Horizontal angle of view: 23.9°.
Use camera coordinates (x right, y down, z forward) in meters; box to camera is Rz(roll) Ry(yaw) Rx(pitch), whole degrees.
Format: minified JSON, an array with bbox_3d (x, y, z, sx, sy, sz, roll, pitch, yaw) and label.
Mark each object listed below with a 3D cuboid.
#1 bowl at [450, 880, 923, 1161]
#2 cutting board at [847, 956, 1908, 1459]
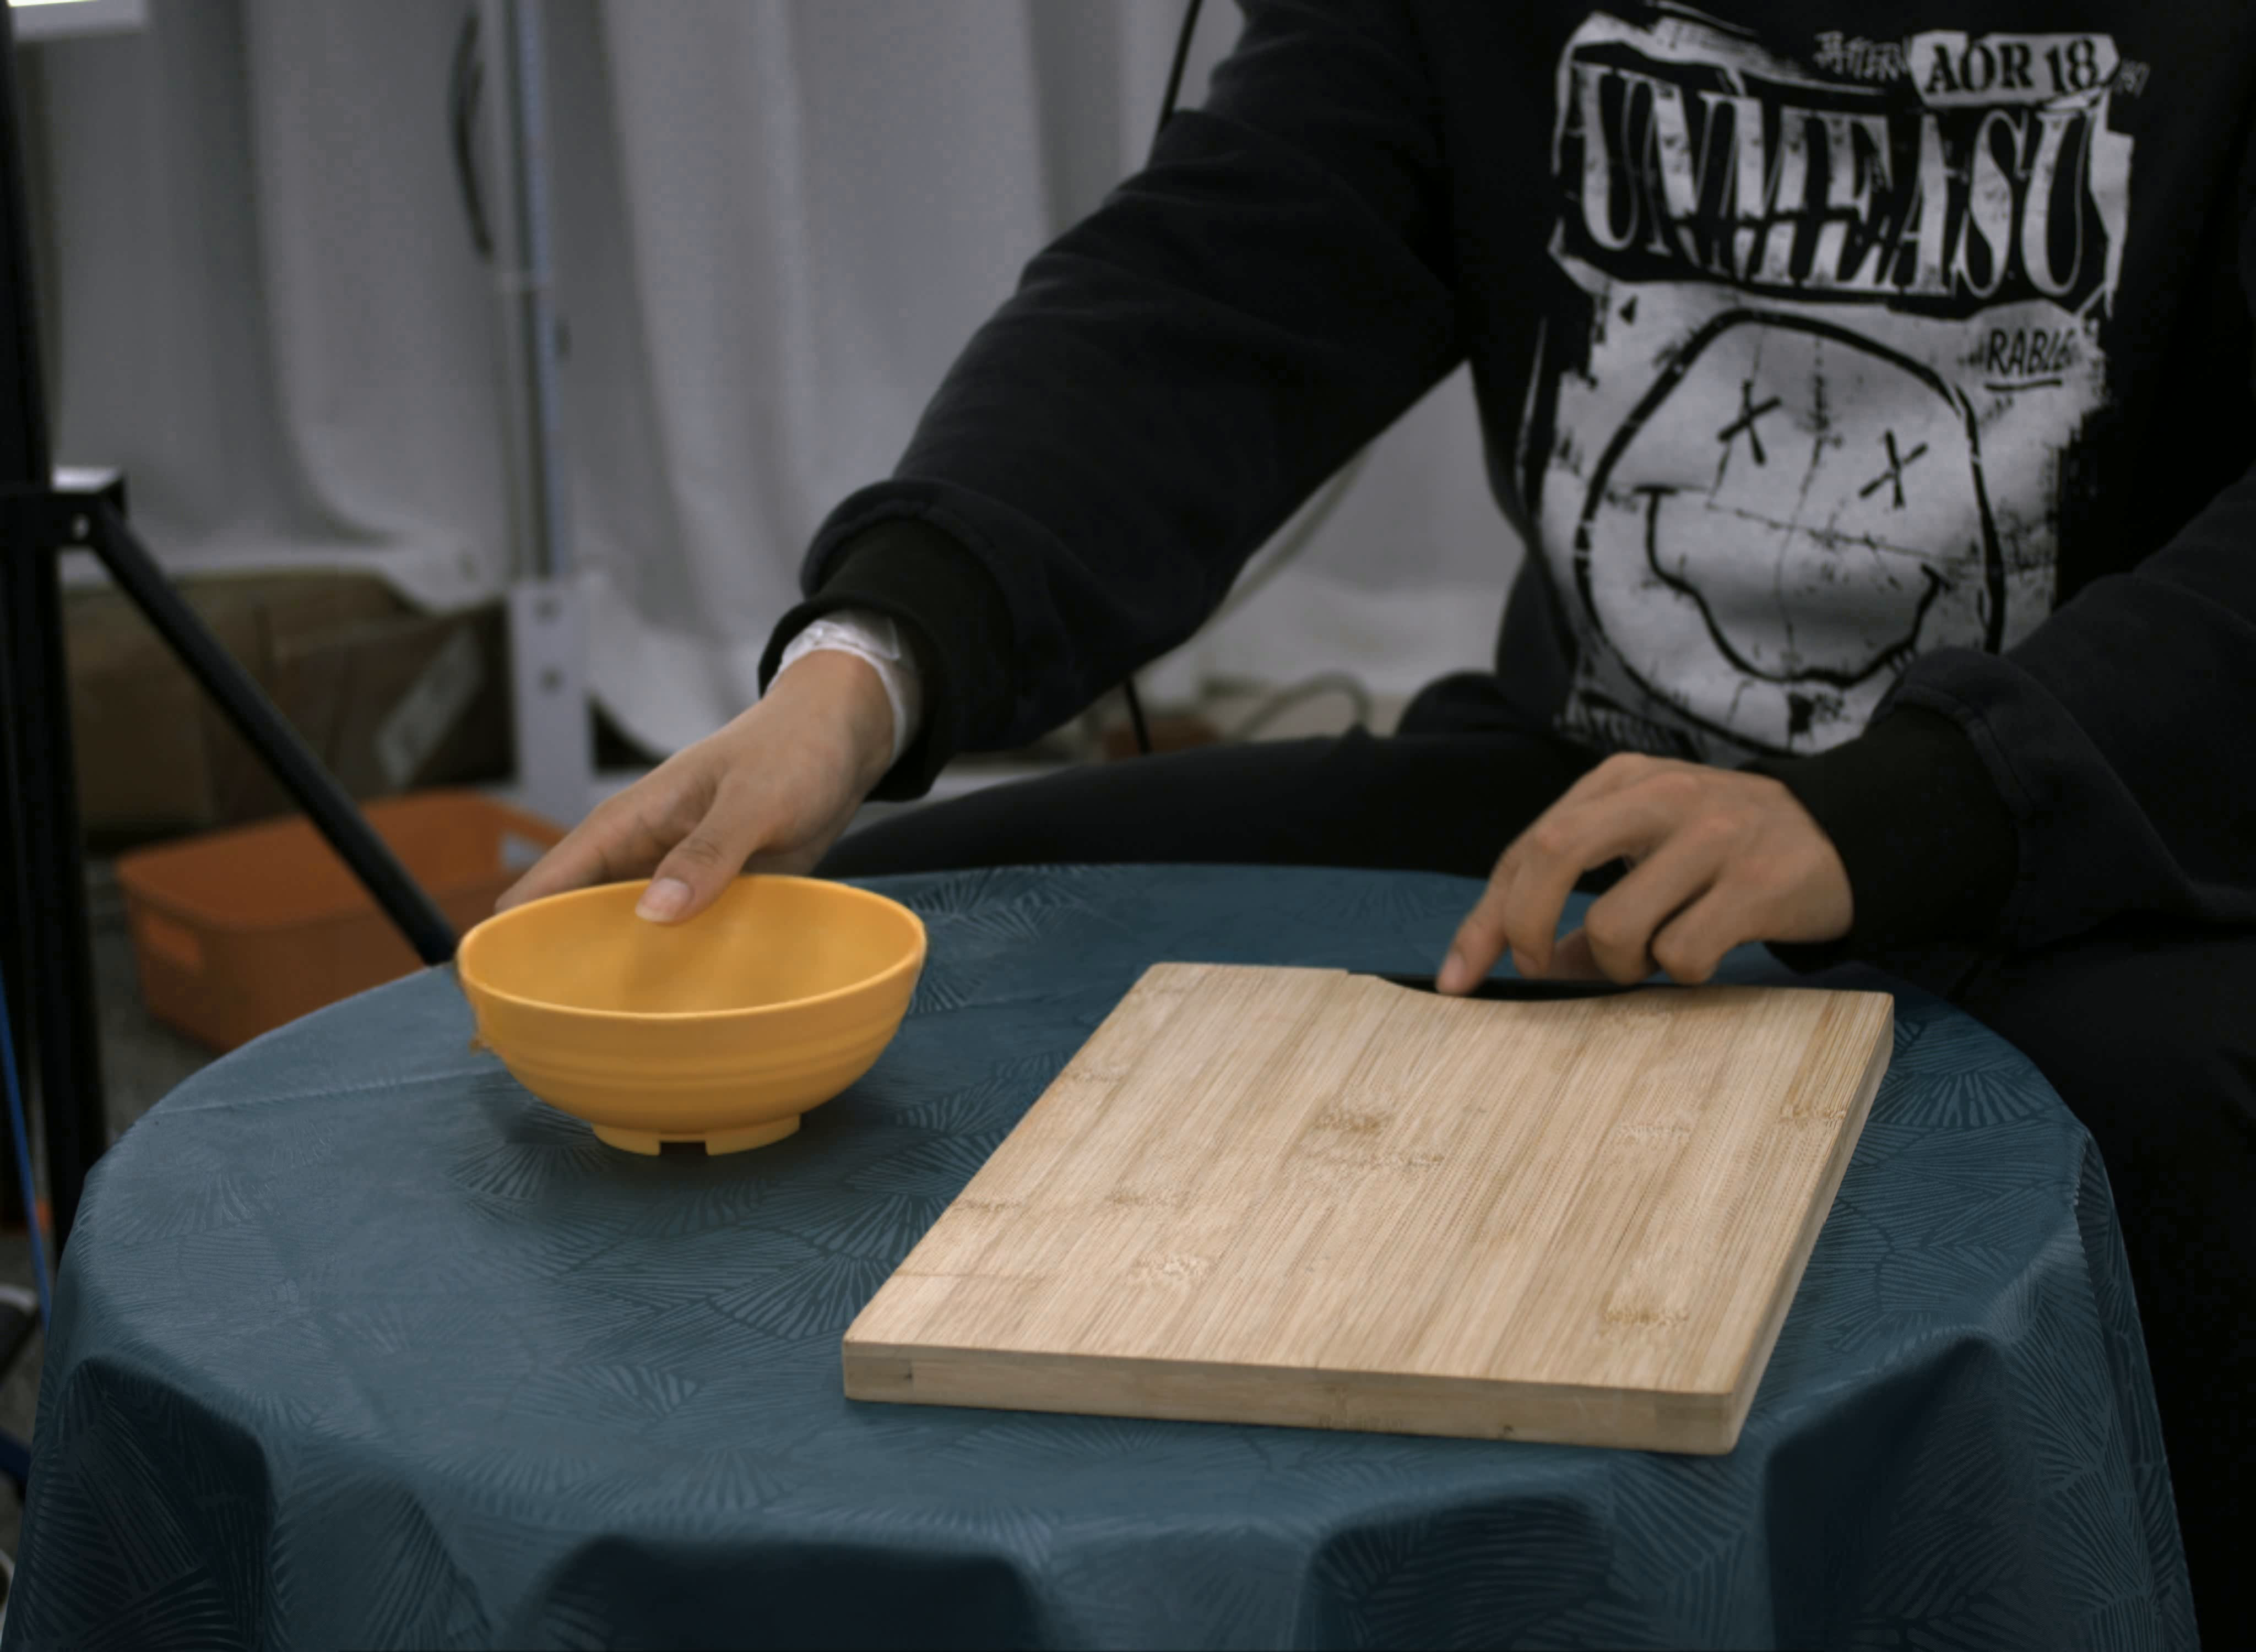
[{"bbox_3d":[-0.135,0.065,1.633,0.144,0.060,0.146,0,15,-1],"label":"bowl"},{"bbox_3d":[0.084,0.102,1.534,0.252,0.023,0.346,2,16,14],"label":"cutting board"}]
